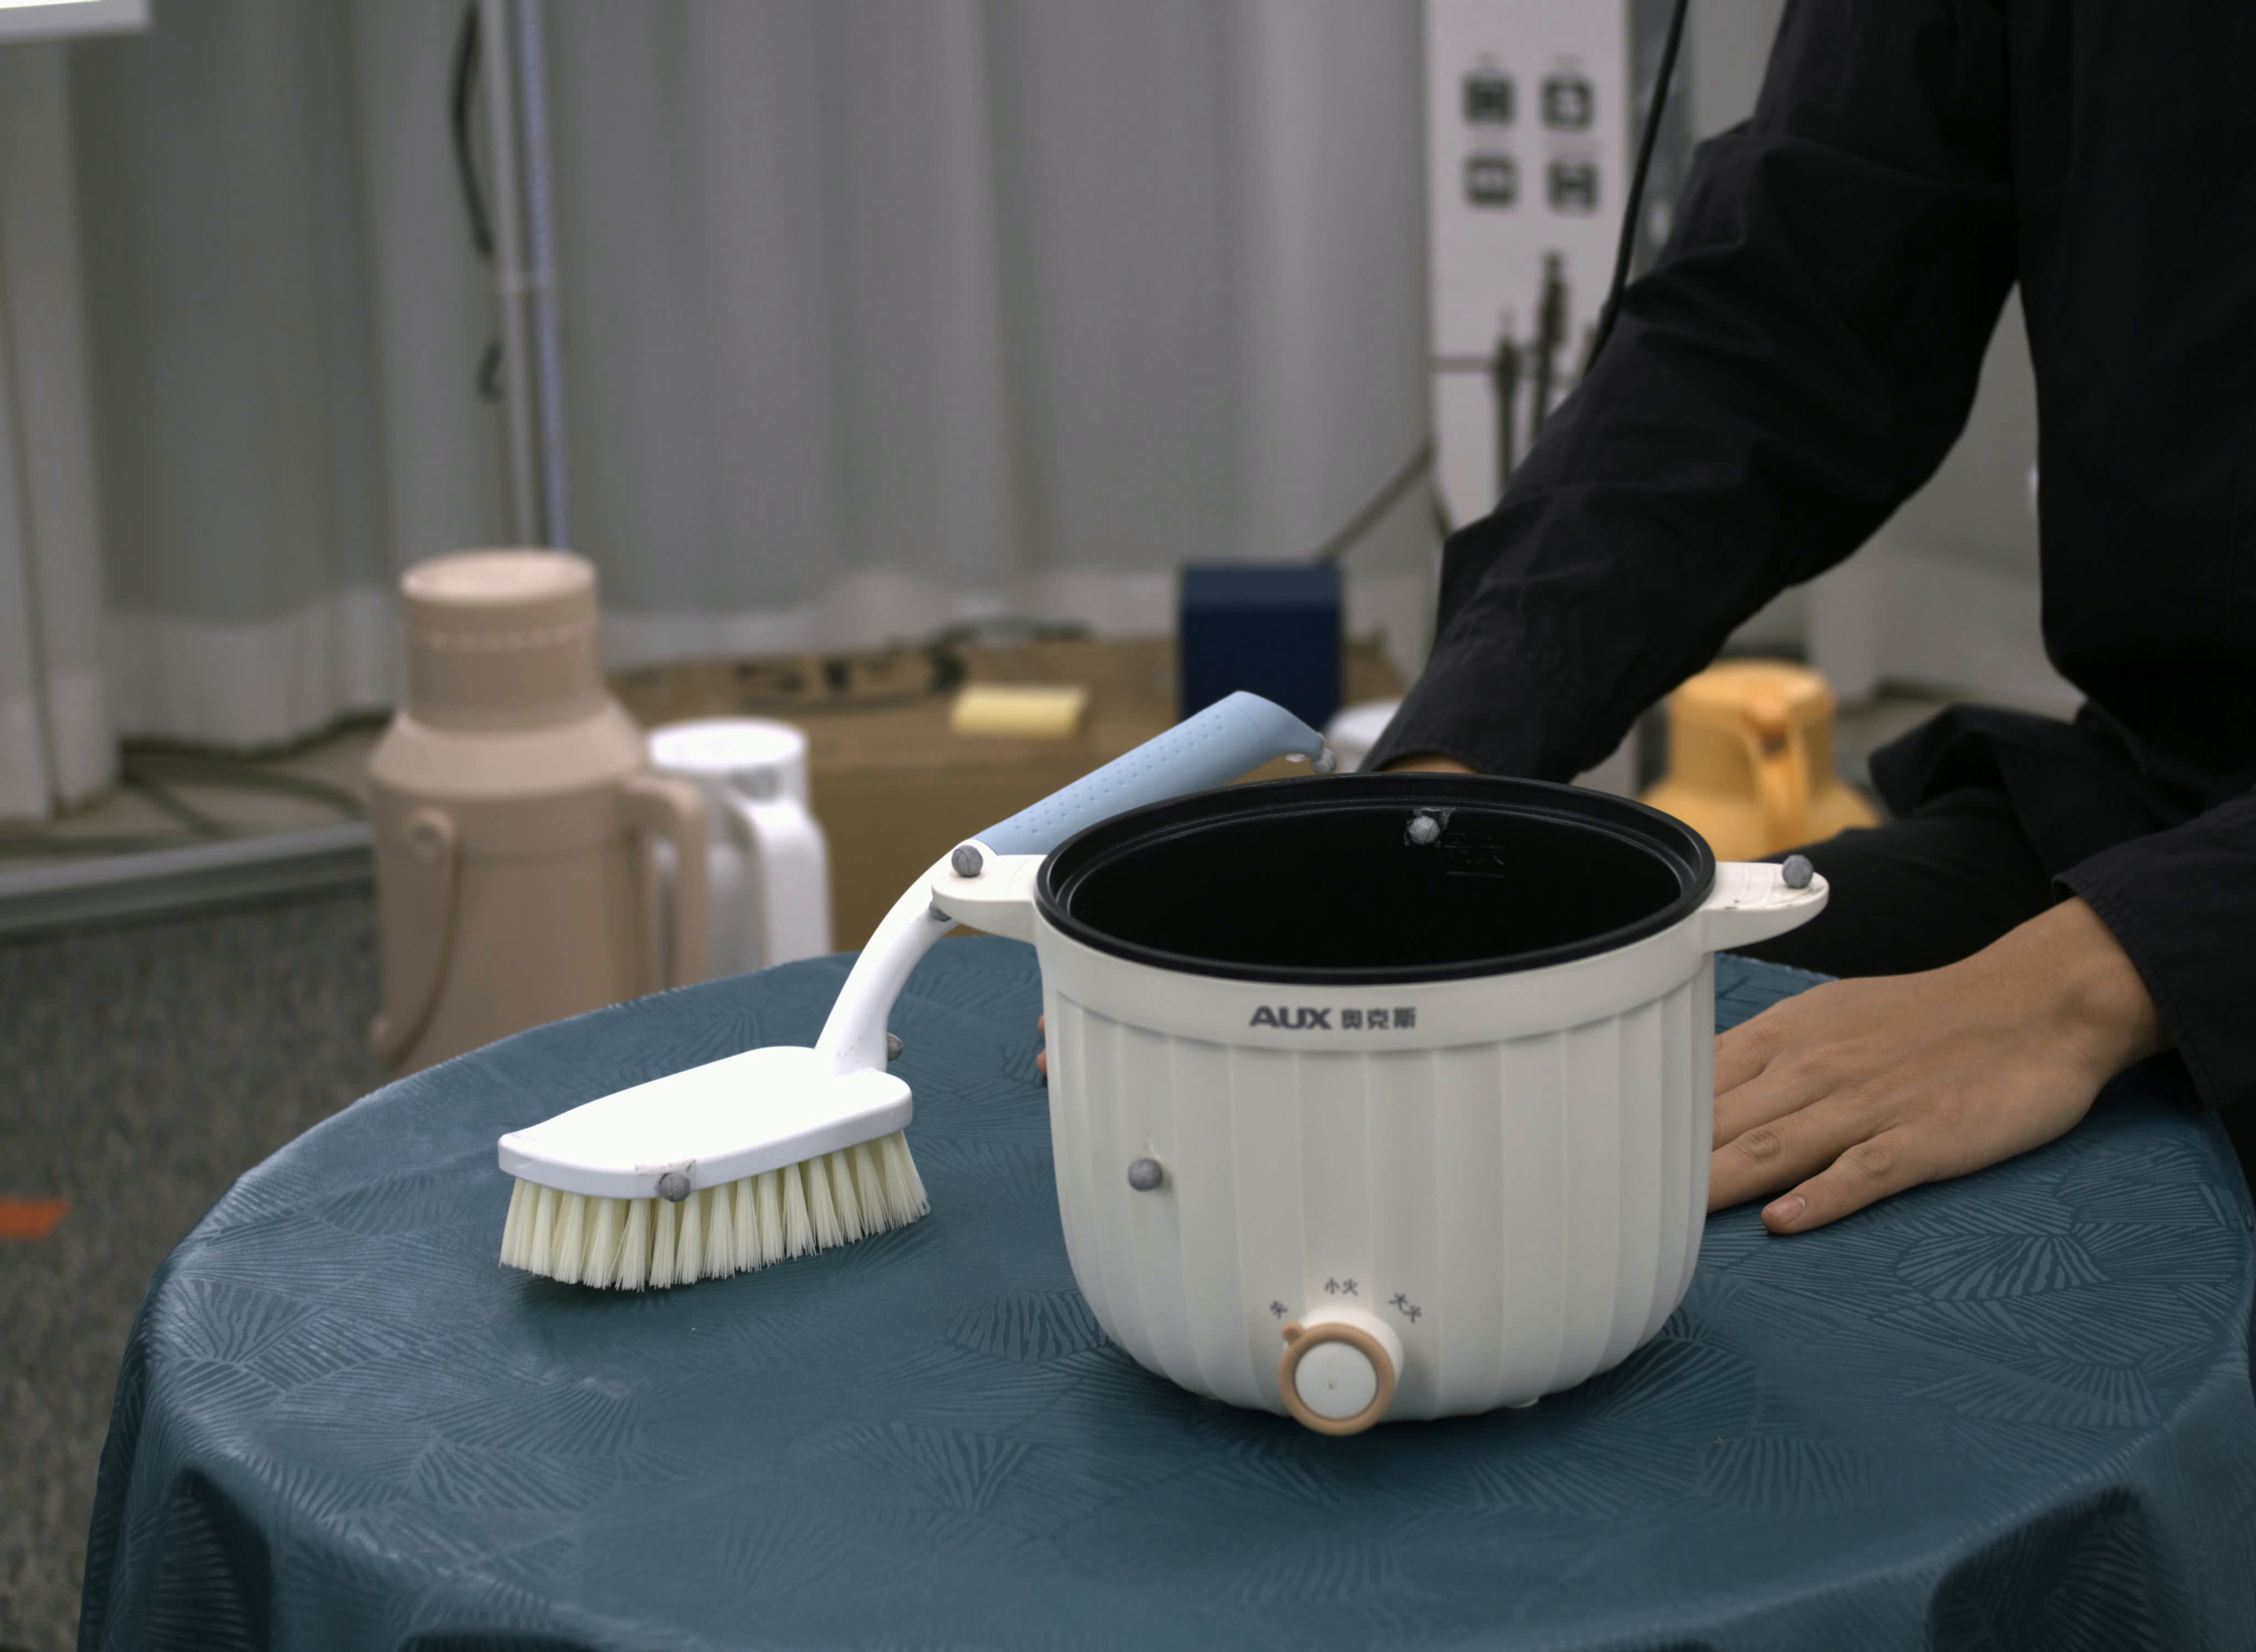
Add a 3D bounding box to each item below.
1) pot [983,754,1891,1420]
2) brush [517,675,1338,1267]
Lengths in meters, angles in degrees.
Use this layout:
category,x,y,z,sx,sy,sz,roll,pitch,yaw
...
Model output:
category,x,y,z,sx,sy,sz,roll,pitch,yaw
pot,0.083,0.071,1.408,0.241,0.143,0.189,-1,13,11
brush,-0.046,0.058,1.592,0.320,0.084,0.084,-29,65,-33
